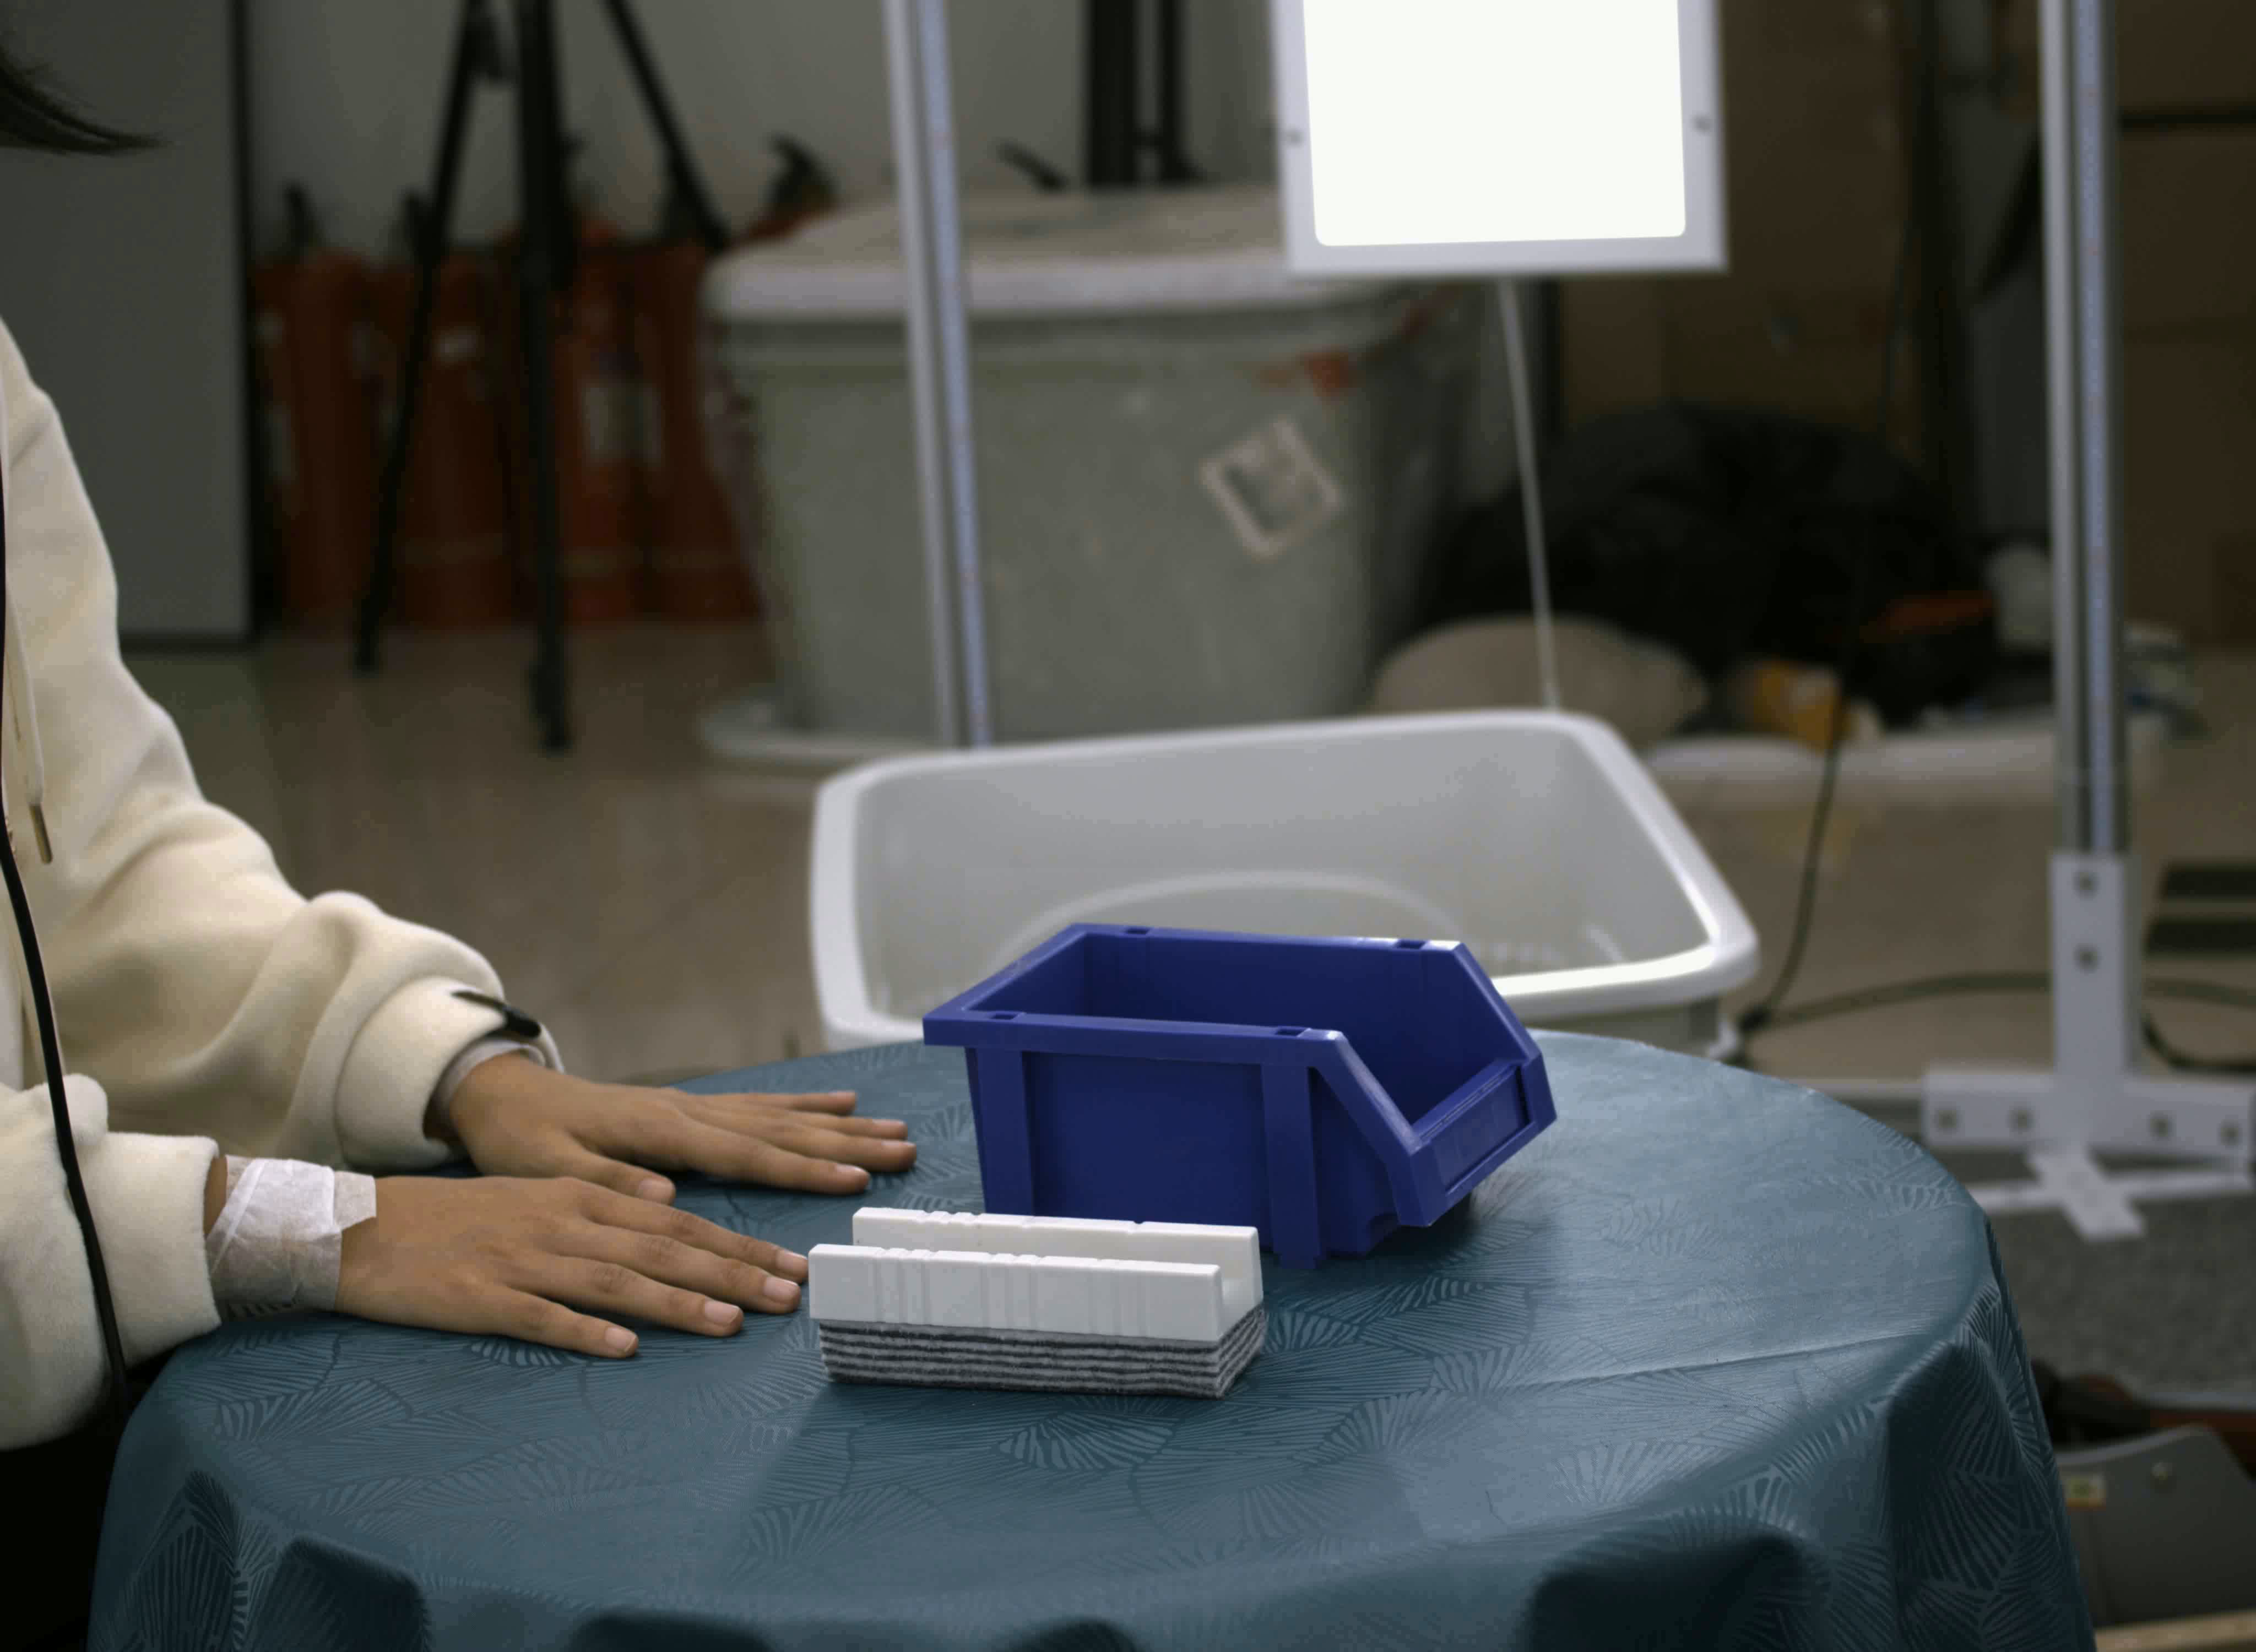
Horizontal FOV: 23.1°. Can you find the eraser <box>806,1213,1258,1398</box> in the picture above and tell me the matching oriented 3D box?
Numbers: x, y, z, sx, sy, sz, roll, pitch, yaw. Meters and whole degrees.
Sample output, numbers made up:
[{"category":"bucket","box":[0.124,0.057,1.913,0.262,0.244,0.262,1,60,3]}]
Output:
[{"category":"eraser","box":[-0.029,0.149,1.720,0.136,0.047,0.049,1,16,18]}]

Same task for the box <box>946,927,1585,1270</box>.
[{"category":"box","box":[0.049,0.090,1.859,0.183,0.082,0.122,1,15,29]}]
